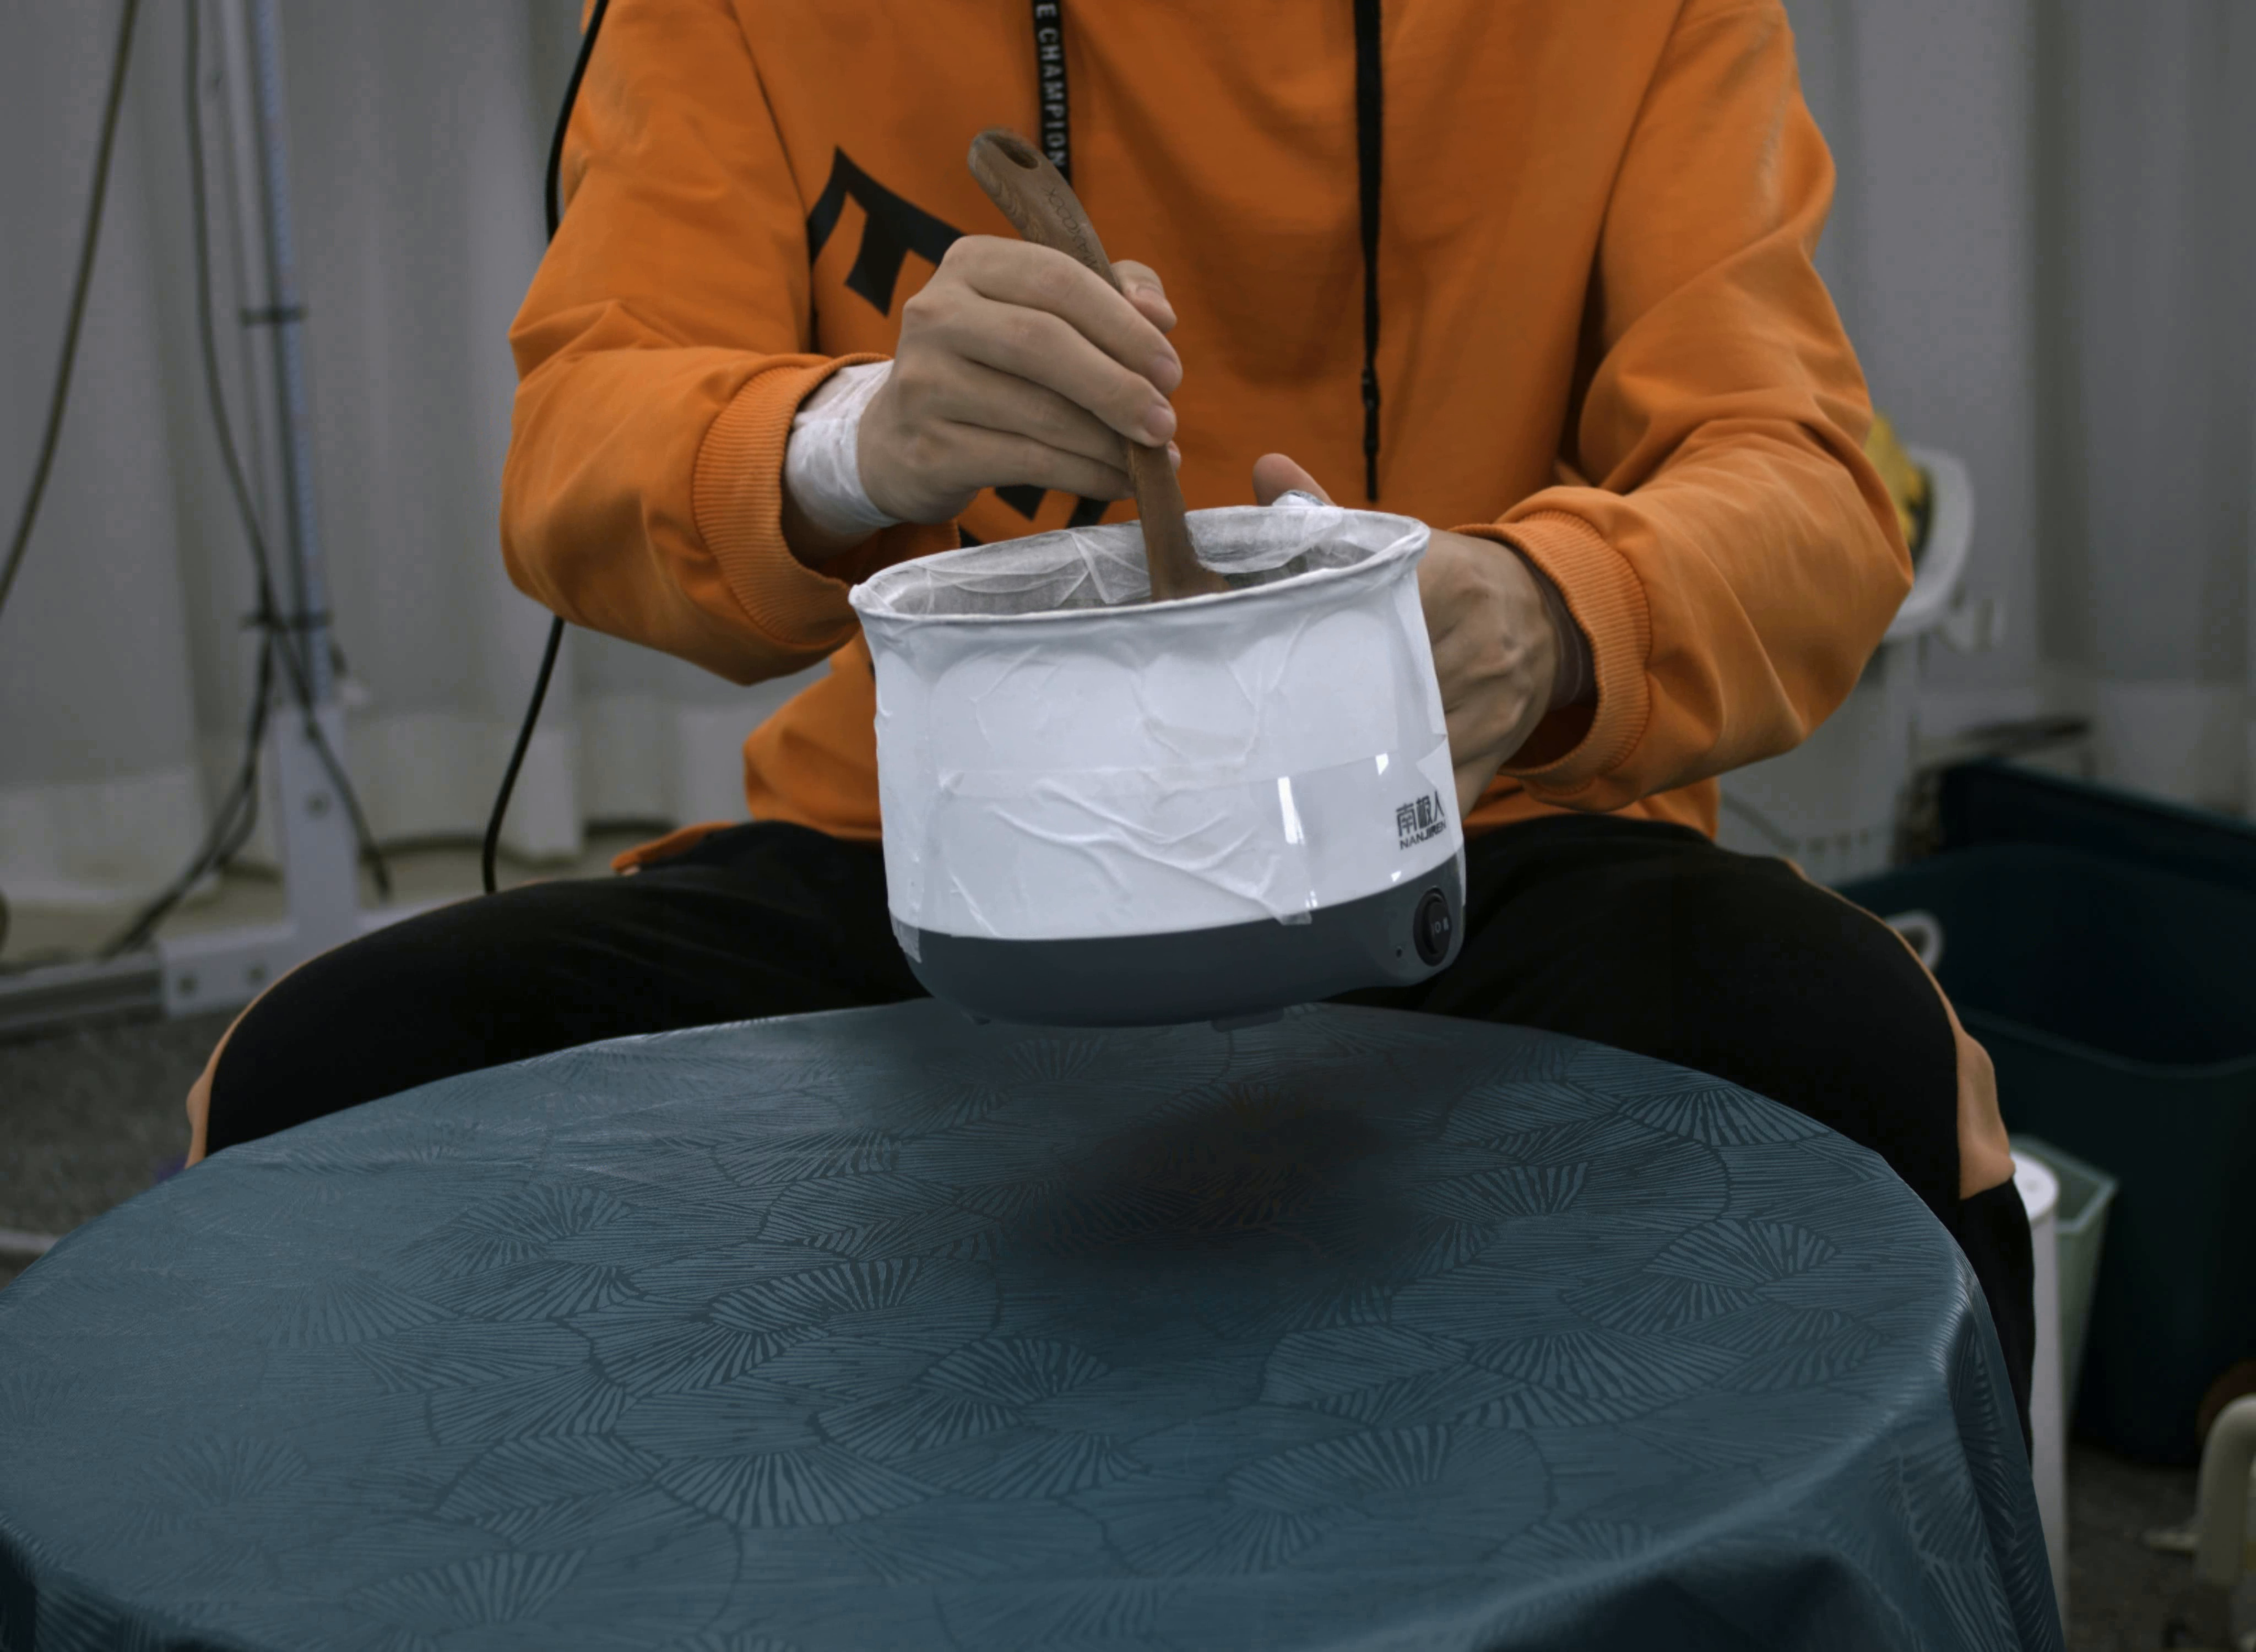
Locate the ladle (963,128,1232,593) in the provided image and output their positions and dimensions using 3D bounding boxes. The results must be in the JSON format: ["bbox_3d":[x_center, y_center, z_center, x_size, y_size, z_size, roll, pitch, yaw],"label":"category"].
[{"bbox_3d":[0.008,-0.129,1.720,0.076,0.263,0.064,-2,-31,-35],"label":"ladle"}]

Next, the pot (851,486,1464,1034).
[{"bbox_3d":[0.024,-0.024,1.686,0.179,0.136,0.234,0,13,29],"label":"pot"}]
